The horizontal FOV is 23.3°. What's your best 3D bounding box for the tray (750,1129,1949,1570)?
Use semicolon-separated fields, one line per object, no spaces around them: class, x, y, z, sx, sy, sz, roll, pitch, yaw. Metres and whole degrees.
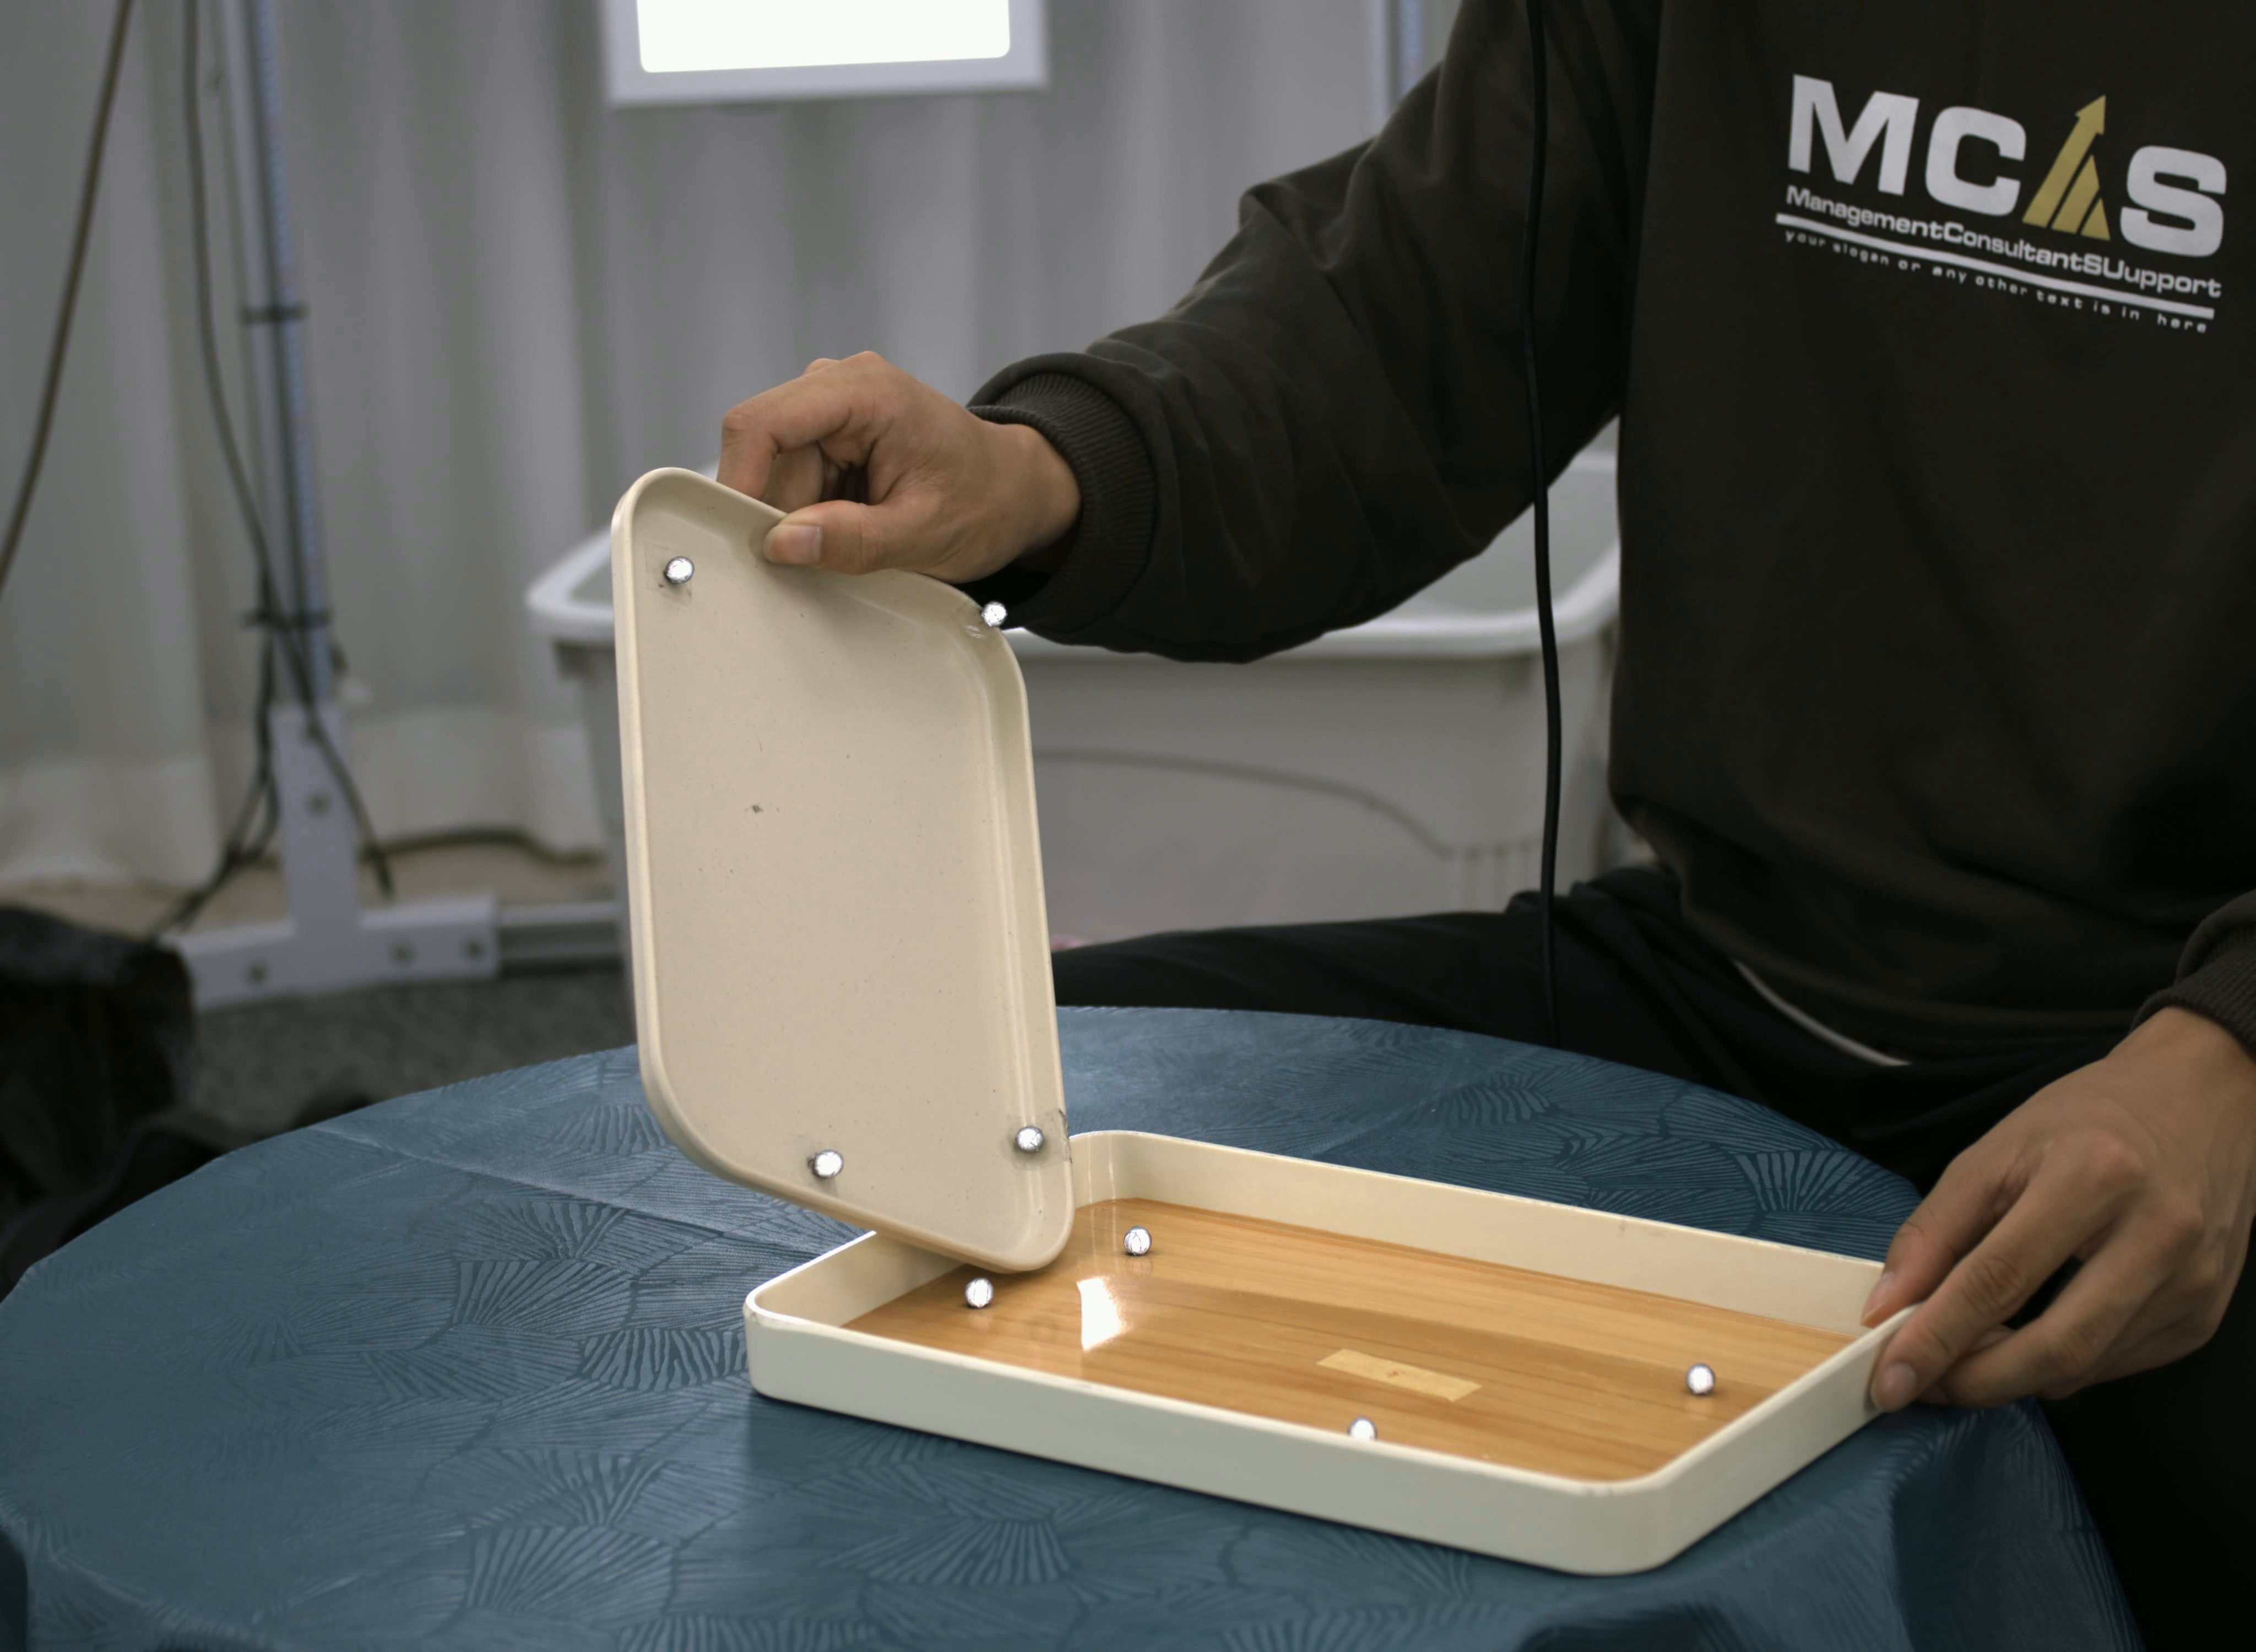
tray;0.062;0.144;1.548;0.301;0.027;0.191;8;18;34

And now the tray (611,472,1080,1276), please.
tray;-0.088;0.015;1.651;0.169;0.243;0.017;23;-41;-40
